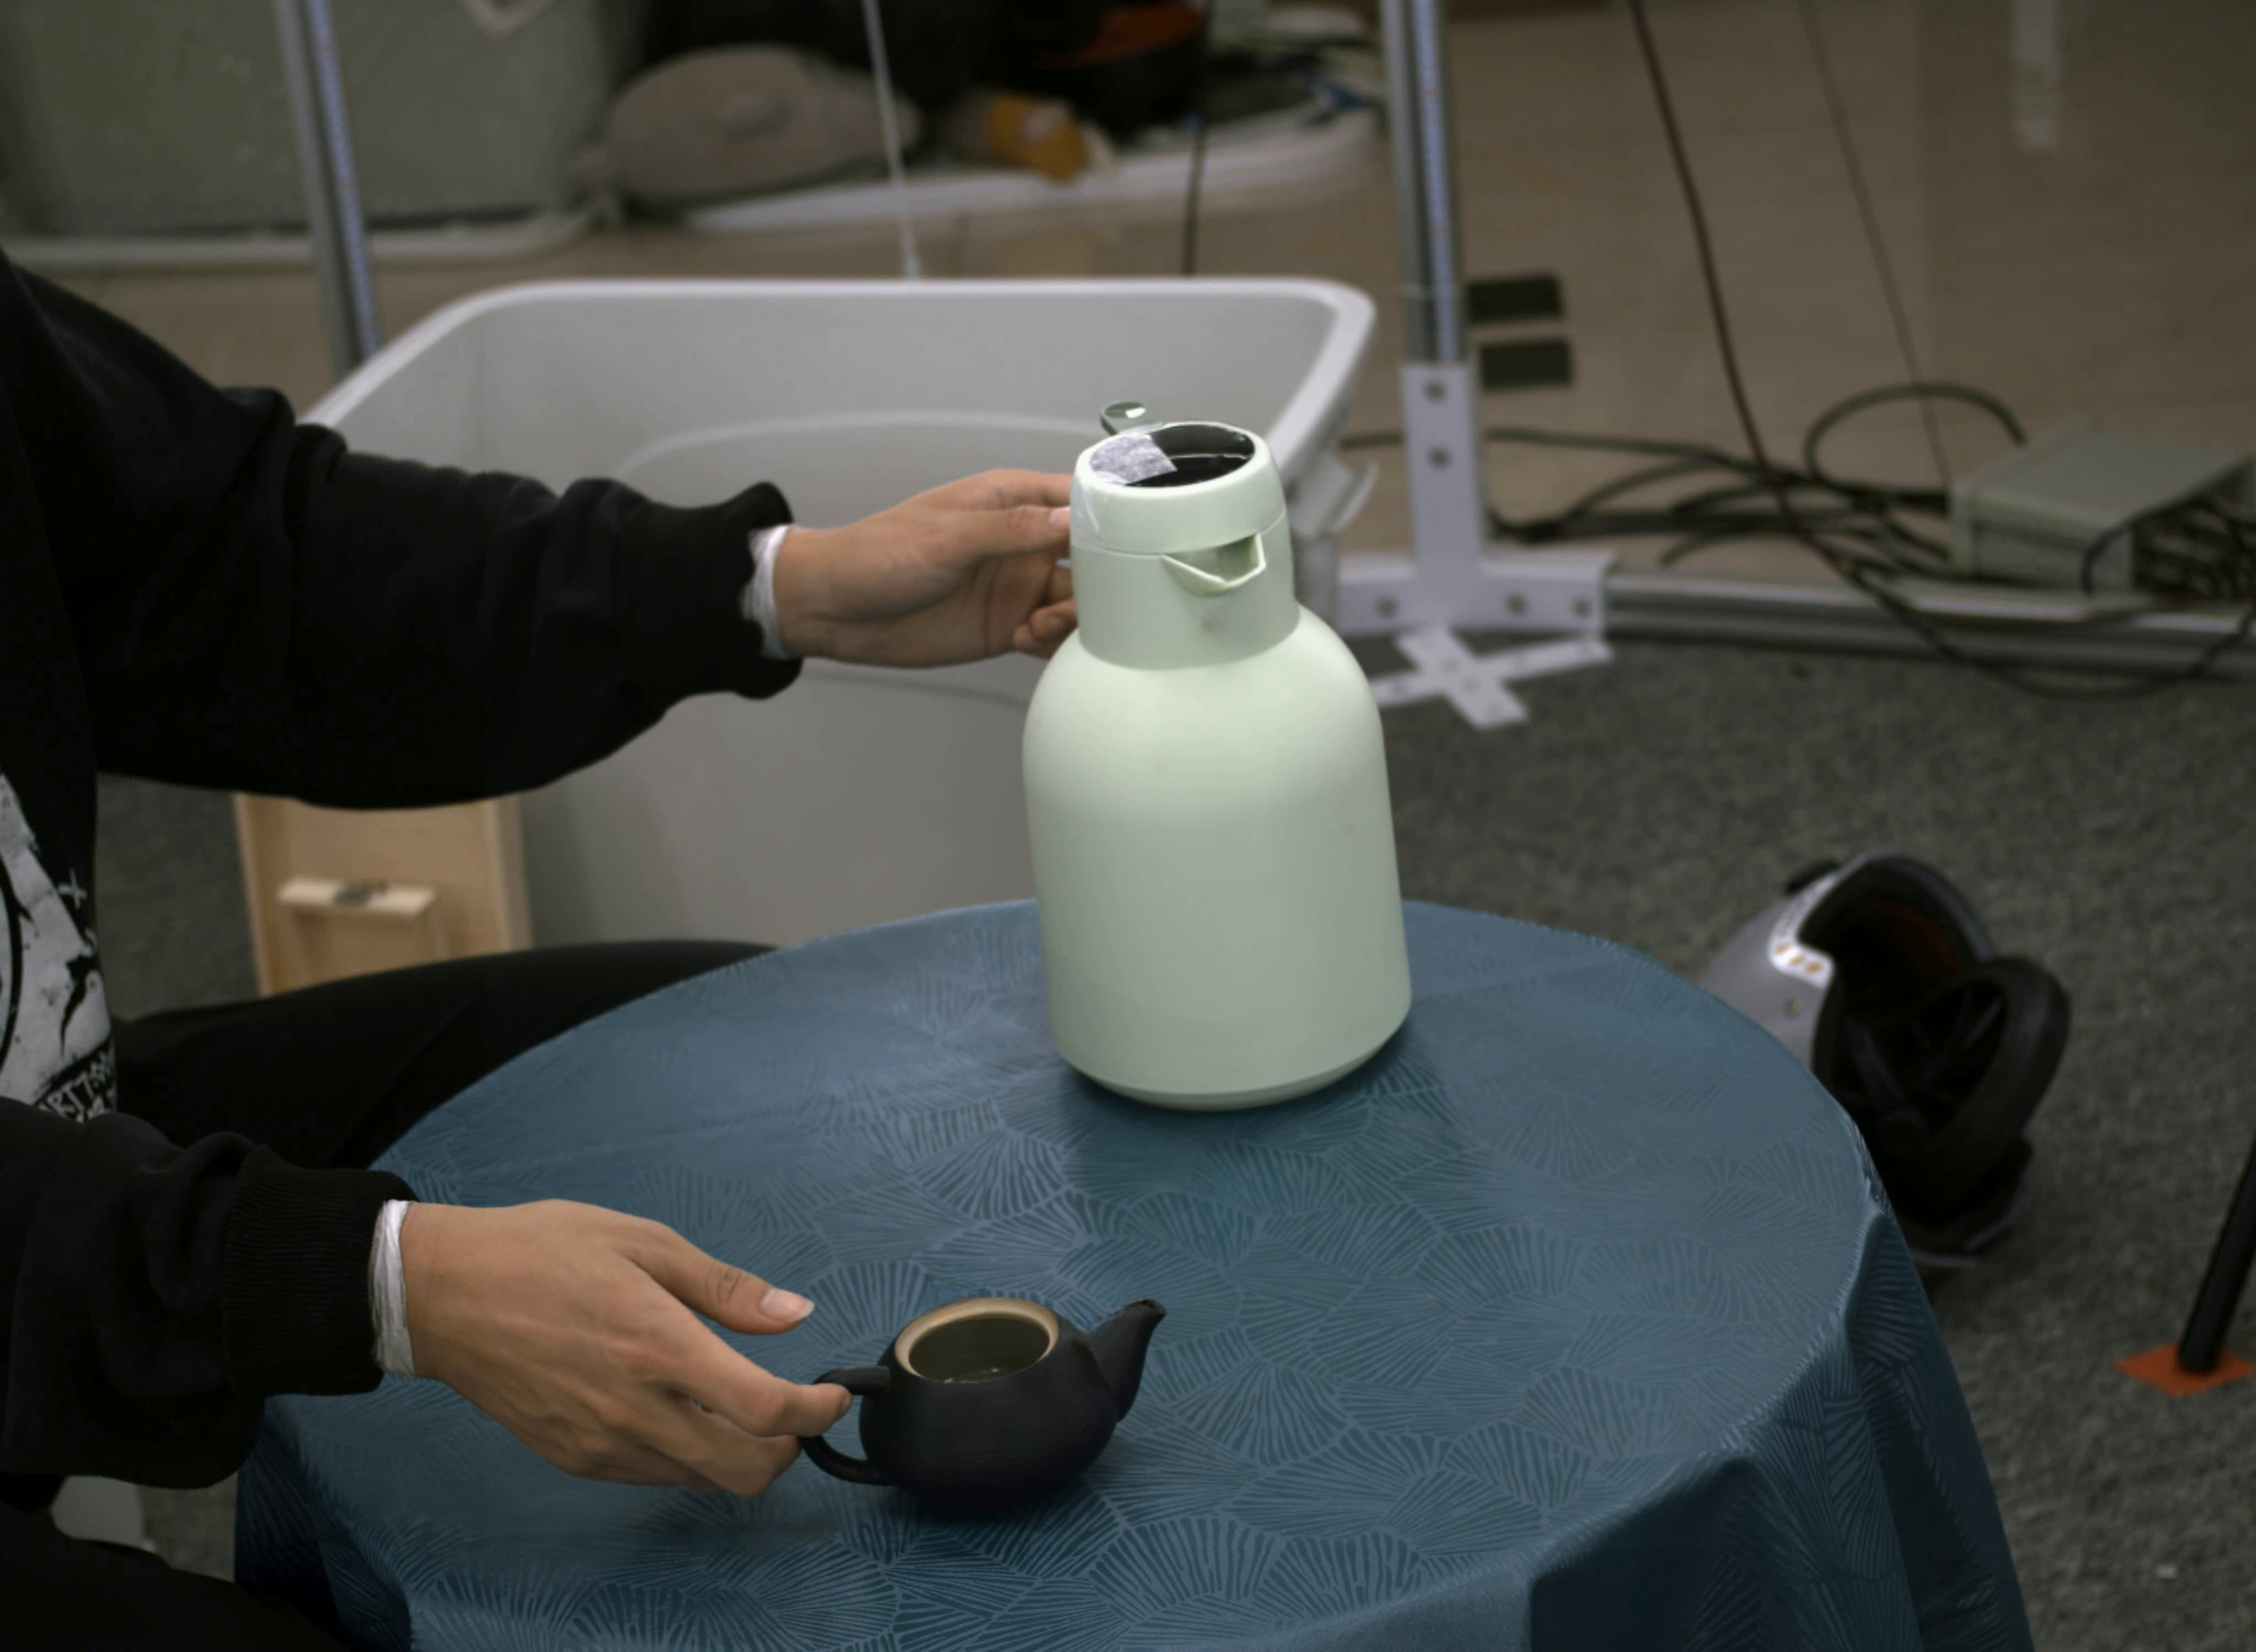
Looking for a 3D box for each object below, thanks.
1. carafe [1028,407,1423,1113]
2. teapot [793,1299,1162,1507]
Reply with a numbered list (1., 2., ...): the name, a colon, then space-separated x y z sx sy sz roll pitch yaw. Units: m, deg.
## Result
1. carafe: 0.026 -0.032 2.210 0.144 0.260 0.184 -15 24 -15
2. teapot: -0.050 0.200 1.967 0.133 0.054 0.090 -11 24 -11
